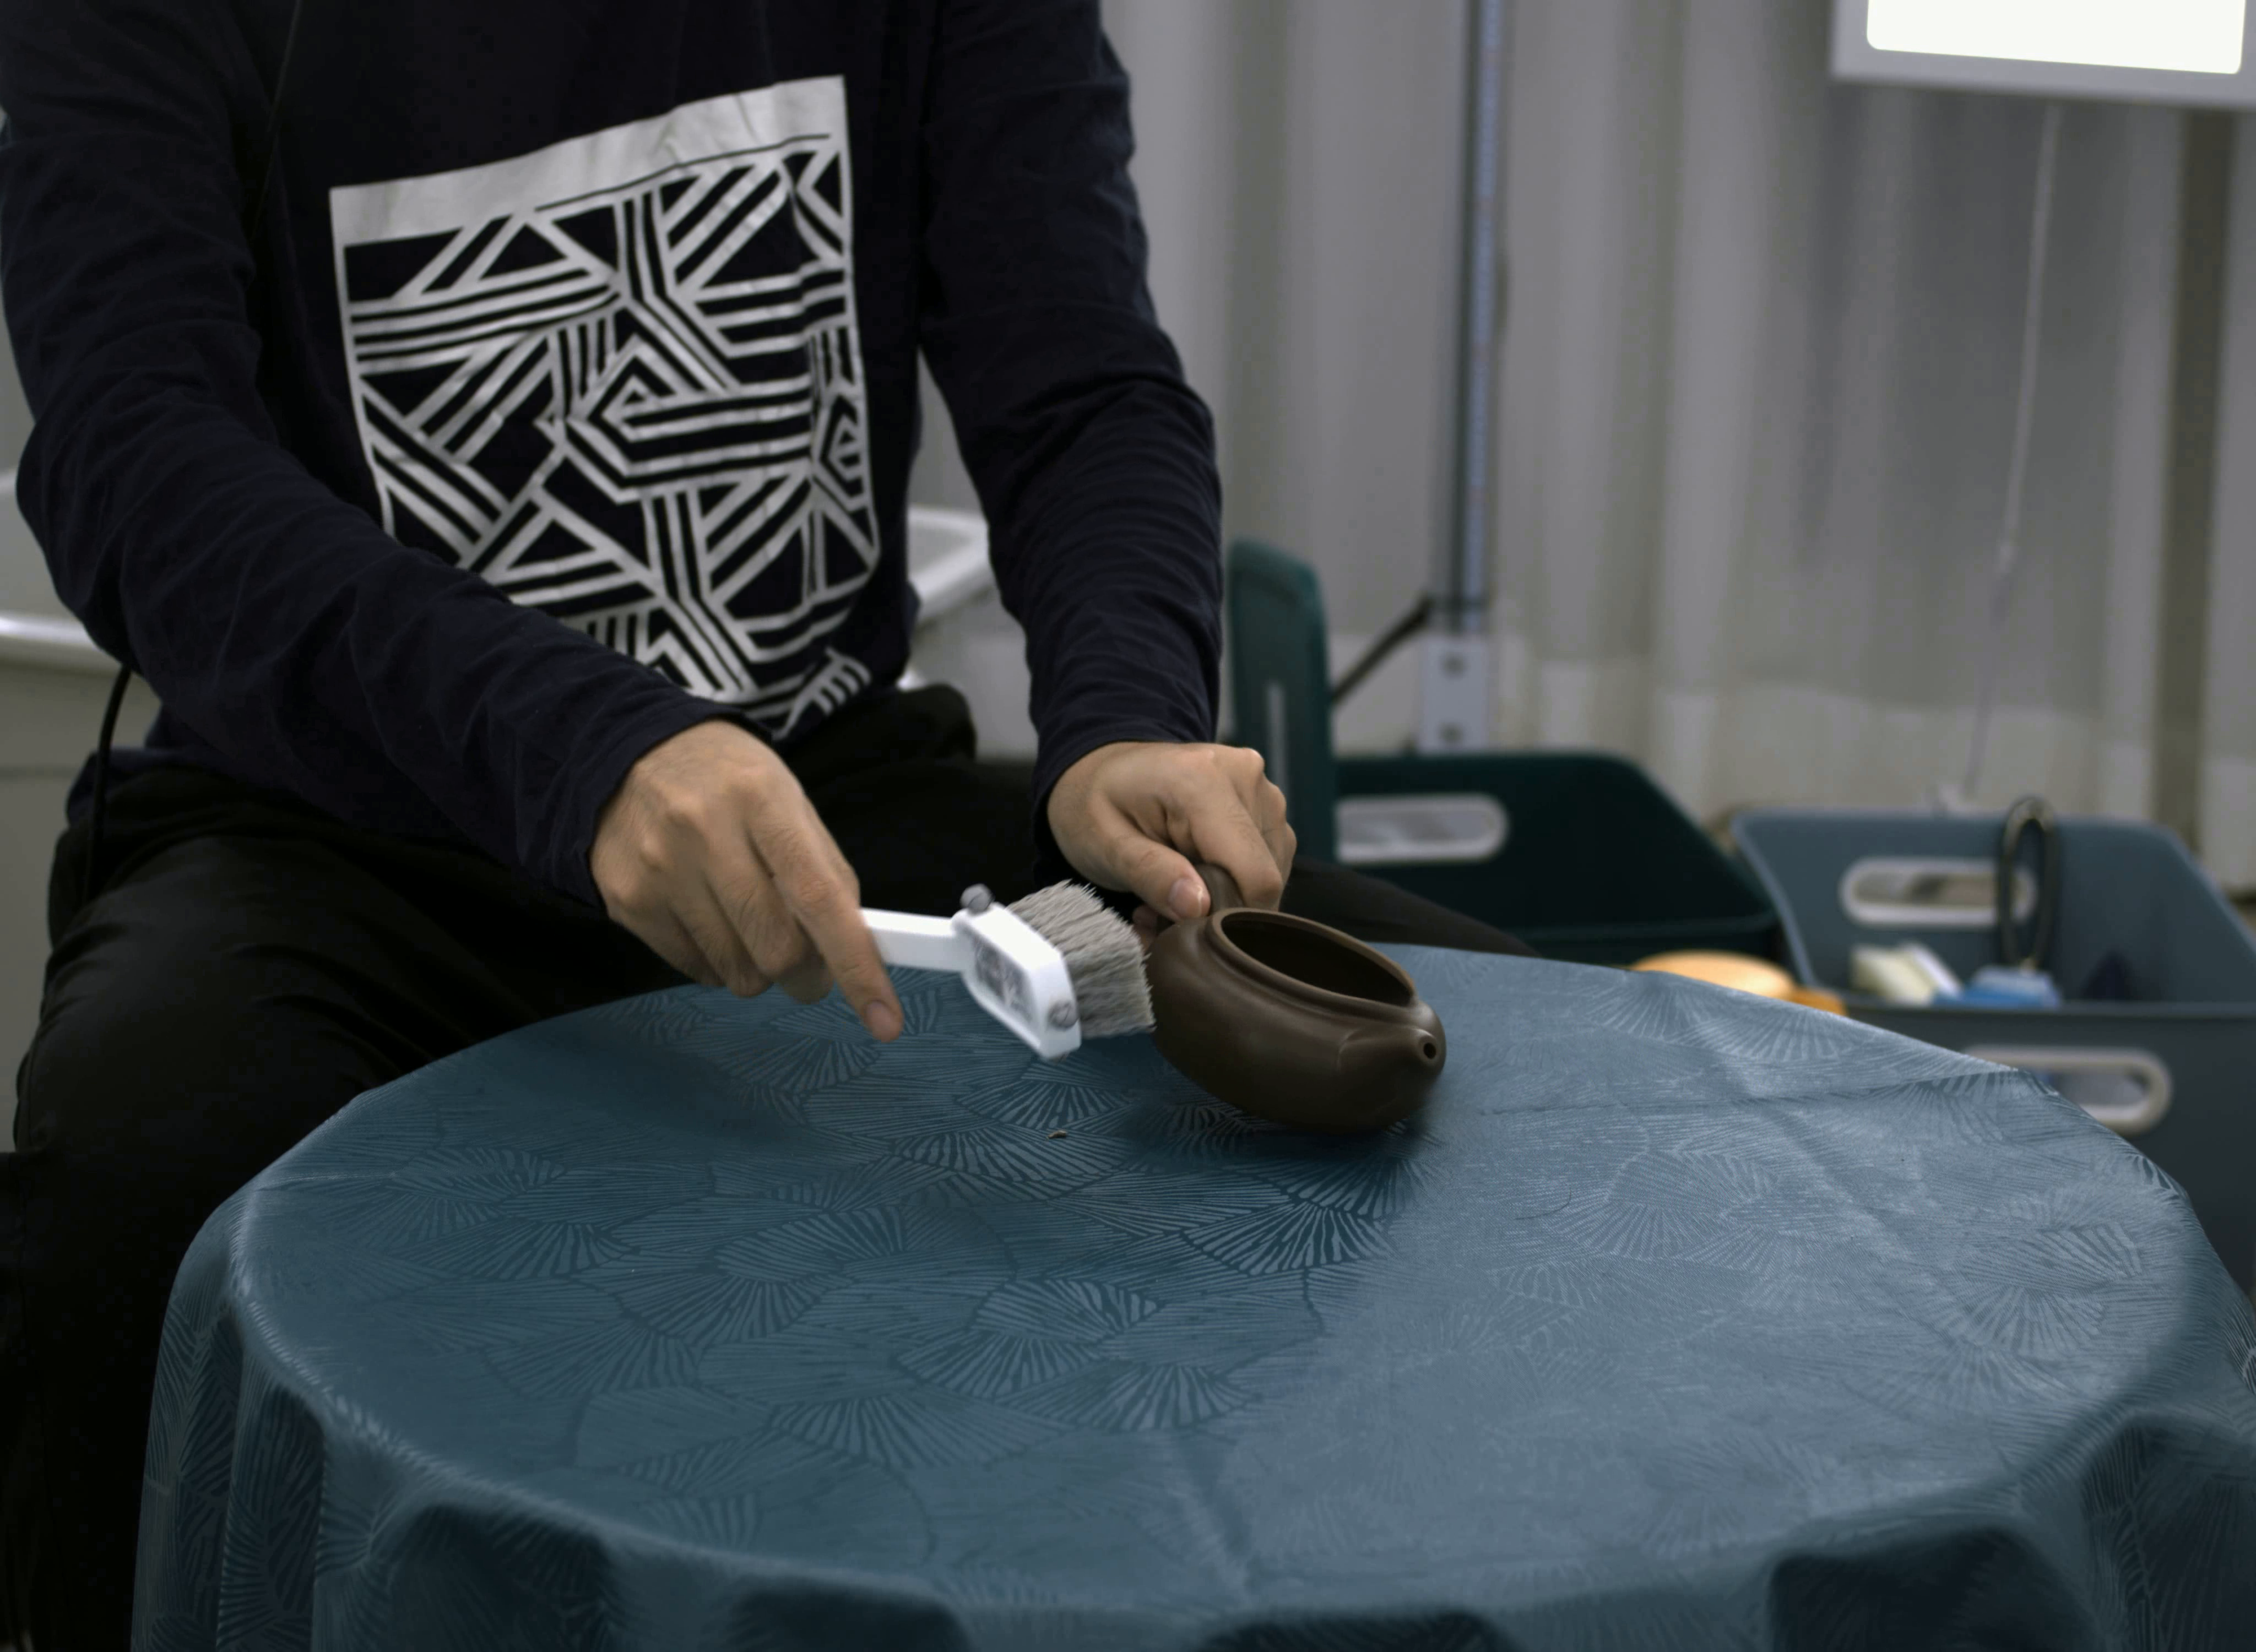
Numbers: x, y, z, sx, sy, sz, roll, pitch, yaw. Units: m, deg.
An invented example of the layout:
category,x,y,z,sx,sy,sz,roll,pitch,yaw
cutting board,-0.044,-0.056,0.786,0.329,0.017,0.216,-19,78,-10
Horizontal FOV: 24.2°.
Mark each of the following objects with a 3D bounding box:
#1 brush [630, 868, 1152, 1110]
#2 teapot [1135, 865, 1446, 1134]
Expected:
category,x,y,z,sx,sy,sz,roll,pitch,yaw
brush,-0.075,0.041,1.666,0.050,0.035,0.240,-27,28,-31
teapot,0.050,0.059,1.690,0.103,0.054,0.151,4,24,-39
